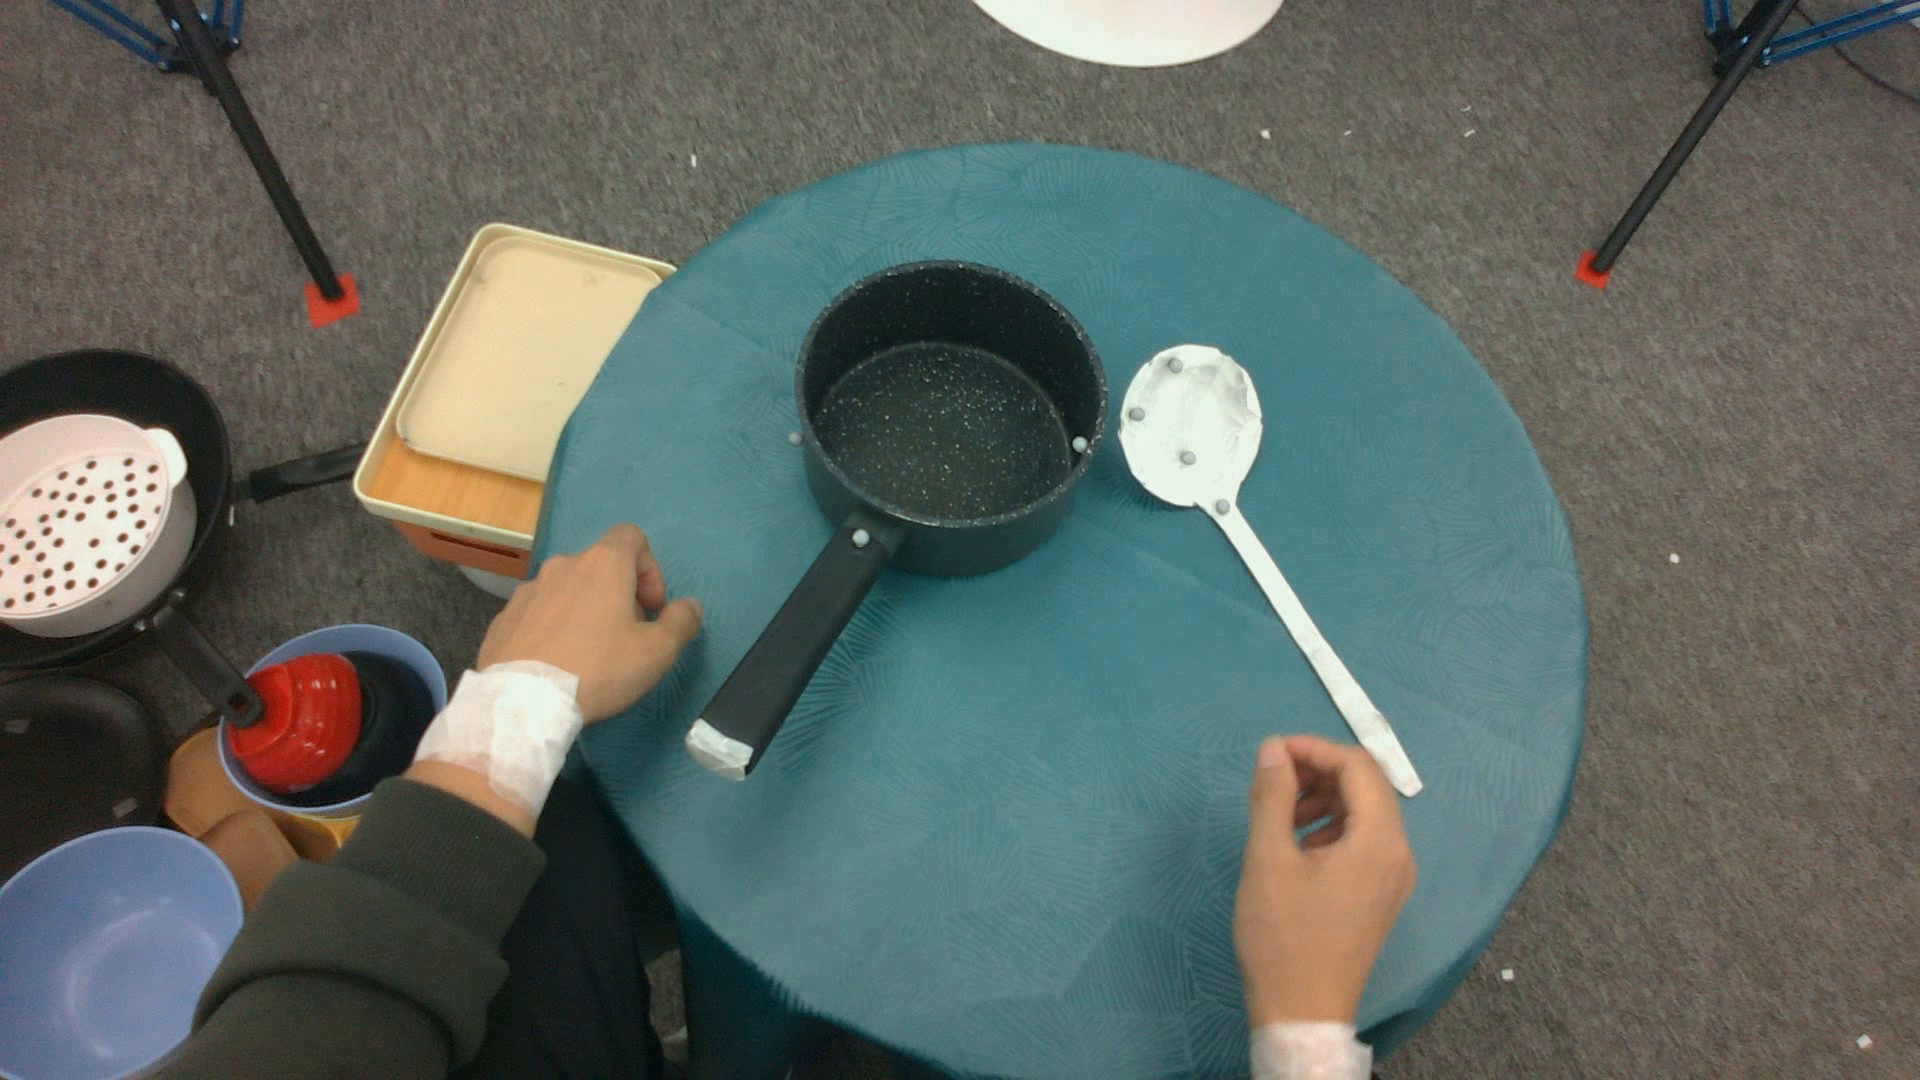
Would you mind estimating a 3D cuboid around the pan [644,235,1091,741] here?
[{"bbox_3d":[-0.055,-0.021,0.738,0.172,0.086,0.330,28,62,9],"label":"pan"}]

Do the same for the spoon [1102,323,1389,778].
[{"bbox_3d":[0.166,0.004,0.768,0.101,0.059,0.278,-22,68,-14],"label":"spoon"}]
